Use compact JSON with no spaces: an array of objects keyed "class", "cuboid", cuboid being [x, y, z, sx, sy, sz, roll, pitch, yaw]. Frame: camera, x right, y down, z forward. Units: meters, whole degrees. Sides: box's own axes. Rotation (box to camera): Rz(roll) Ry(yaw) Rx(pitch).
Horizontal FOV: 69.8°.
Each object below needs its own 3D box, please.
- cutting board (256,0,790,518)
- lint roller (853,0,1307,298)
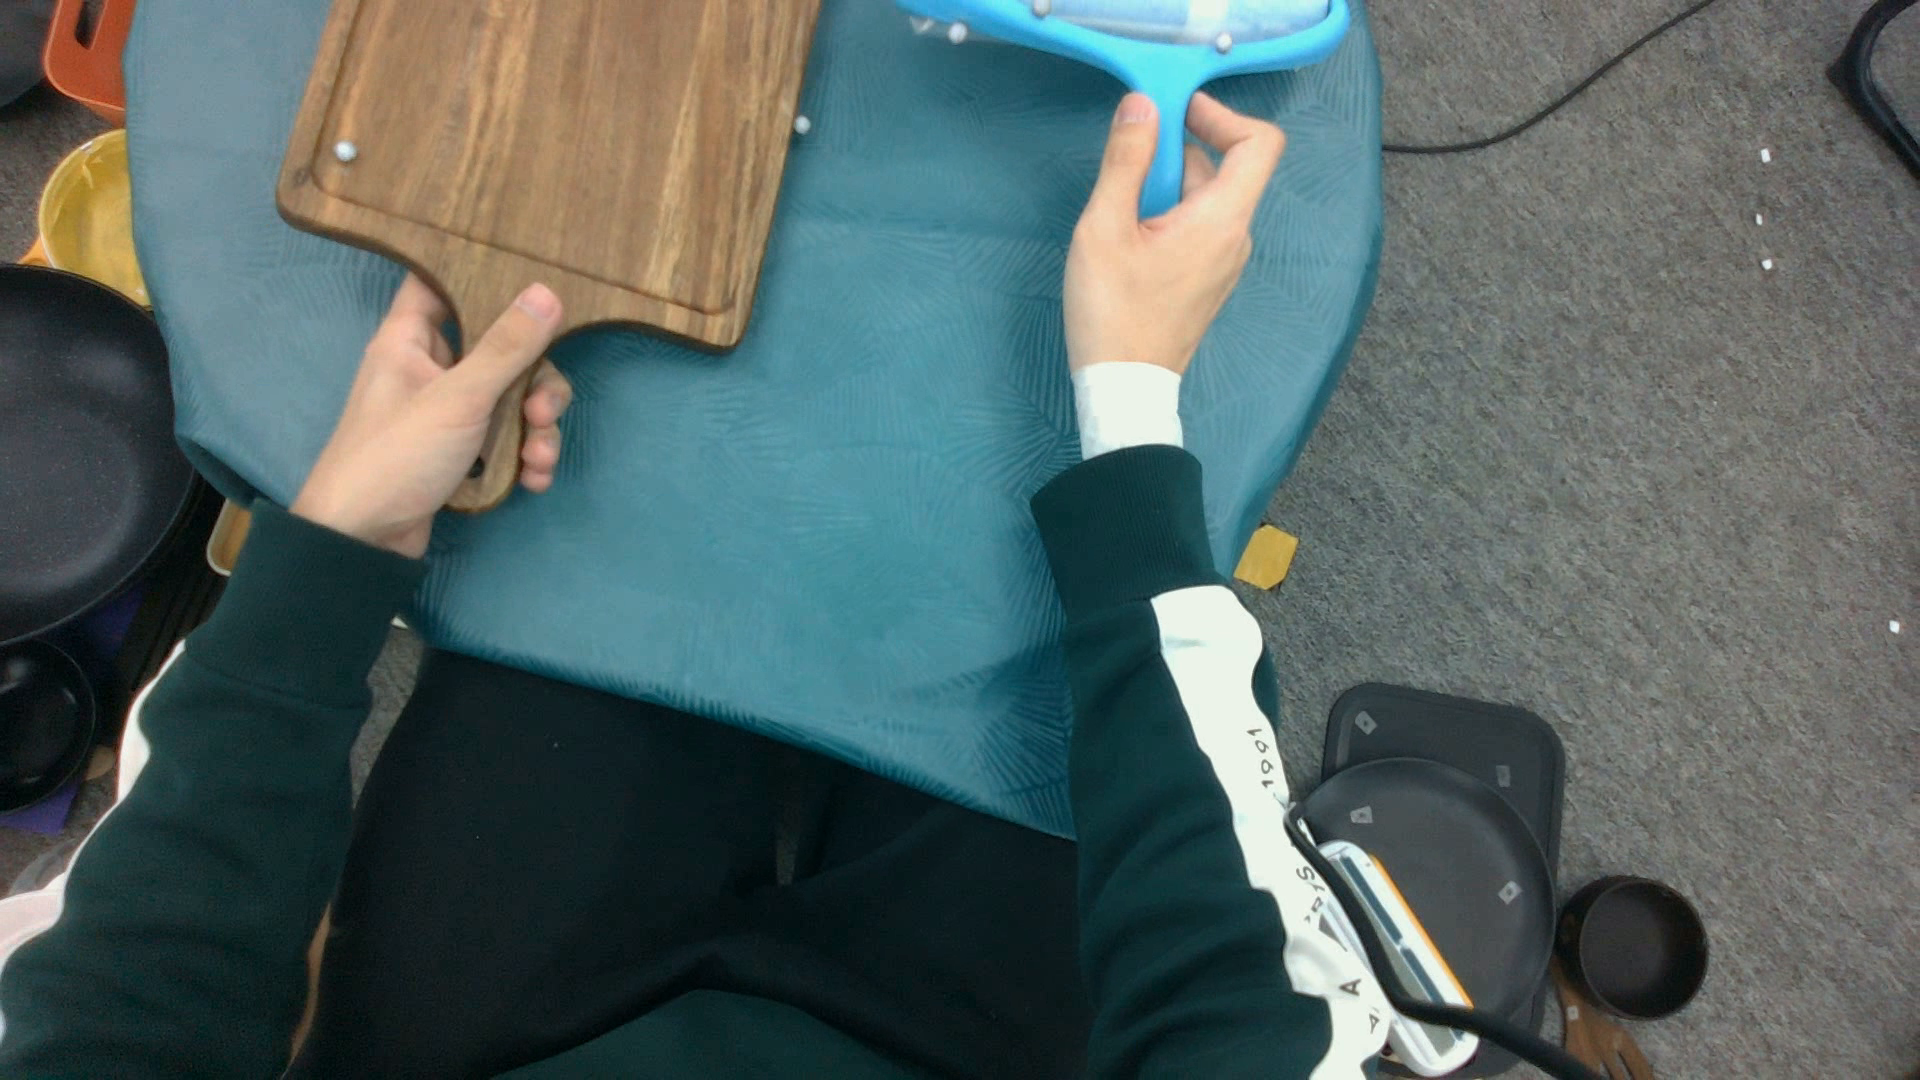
[{"class":"cutting board","cuboid":[-0.187,-0.182,0.606,0.201,0.023,0.353,13,78,-21]},{"class":"lint roller","cuboid":[0.067,-0.207,0.634,0.229,0.067,0.180,-7,79,-20]}]
